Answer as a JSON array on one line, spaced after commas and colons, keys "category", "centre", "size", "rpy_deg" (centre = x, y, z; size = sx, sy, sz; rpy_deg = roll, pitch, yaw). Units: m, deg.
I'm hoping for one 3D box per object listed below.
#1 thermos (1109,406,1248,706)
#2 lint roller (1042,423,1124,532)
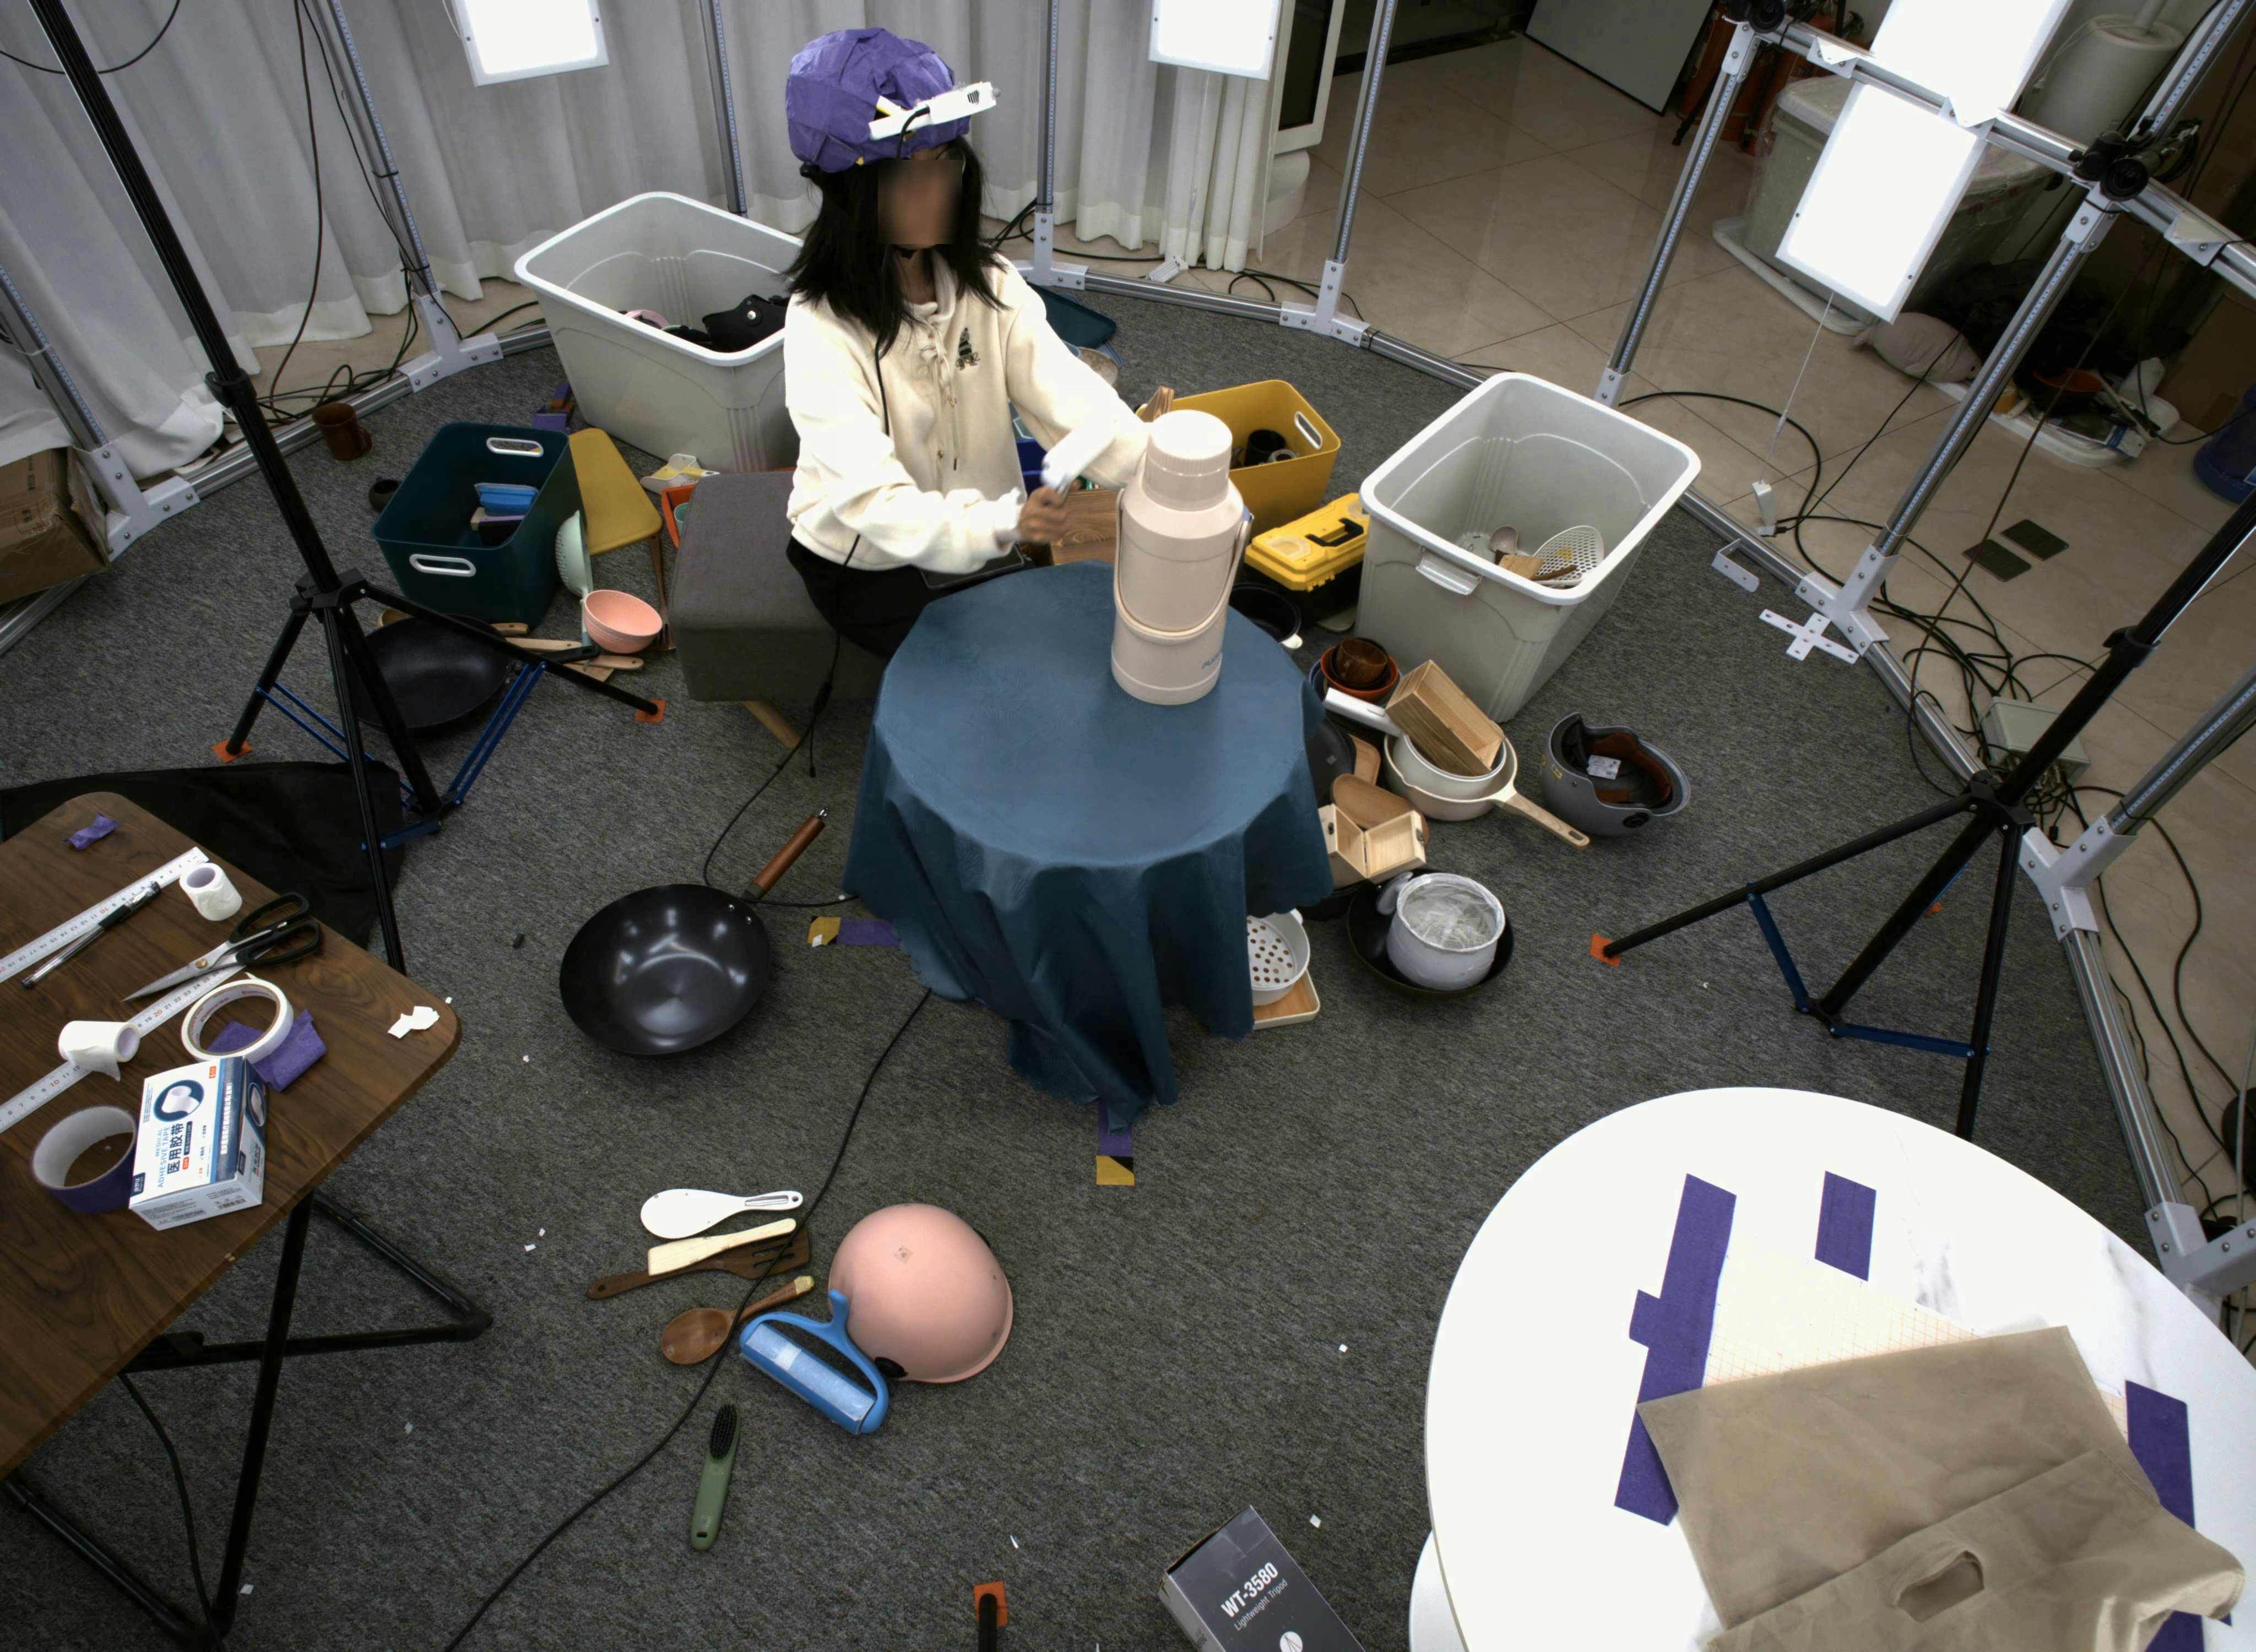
[{"category": "thermos", "centre": [0.071, -0.366, 1.737], "size": [0.176, 0.396, 0.211], "rpy_deg": [17, 50, 10]}, {"category": "lint roller", "centre": [-0.080, -0.445, 1.680], "size": [0.050, 0.179, 0.135], "rpy_deg": [46, 59, -9]}]
